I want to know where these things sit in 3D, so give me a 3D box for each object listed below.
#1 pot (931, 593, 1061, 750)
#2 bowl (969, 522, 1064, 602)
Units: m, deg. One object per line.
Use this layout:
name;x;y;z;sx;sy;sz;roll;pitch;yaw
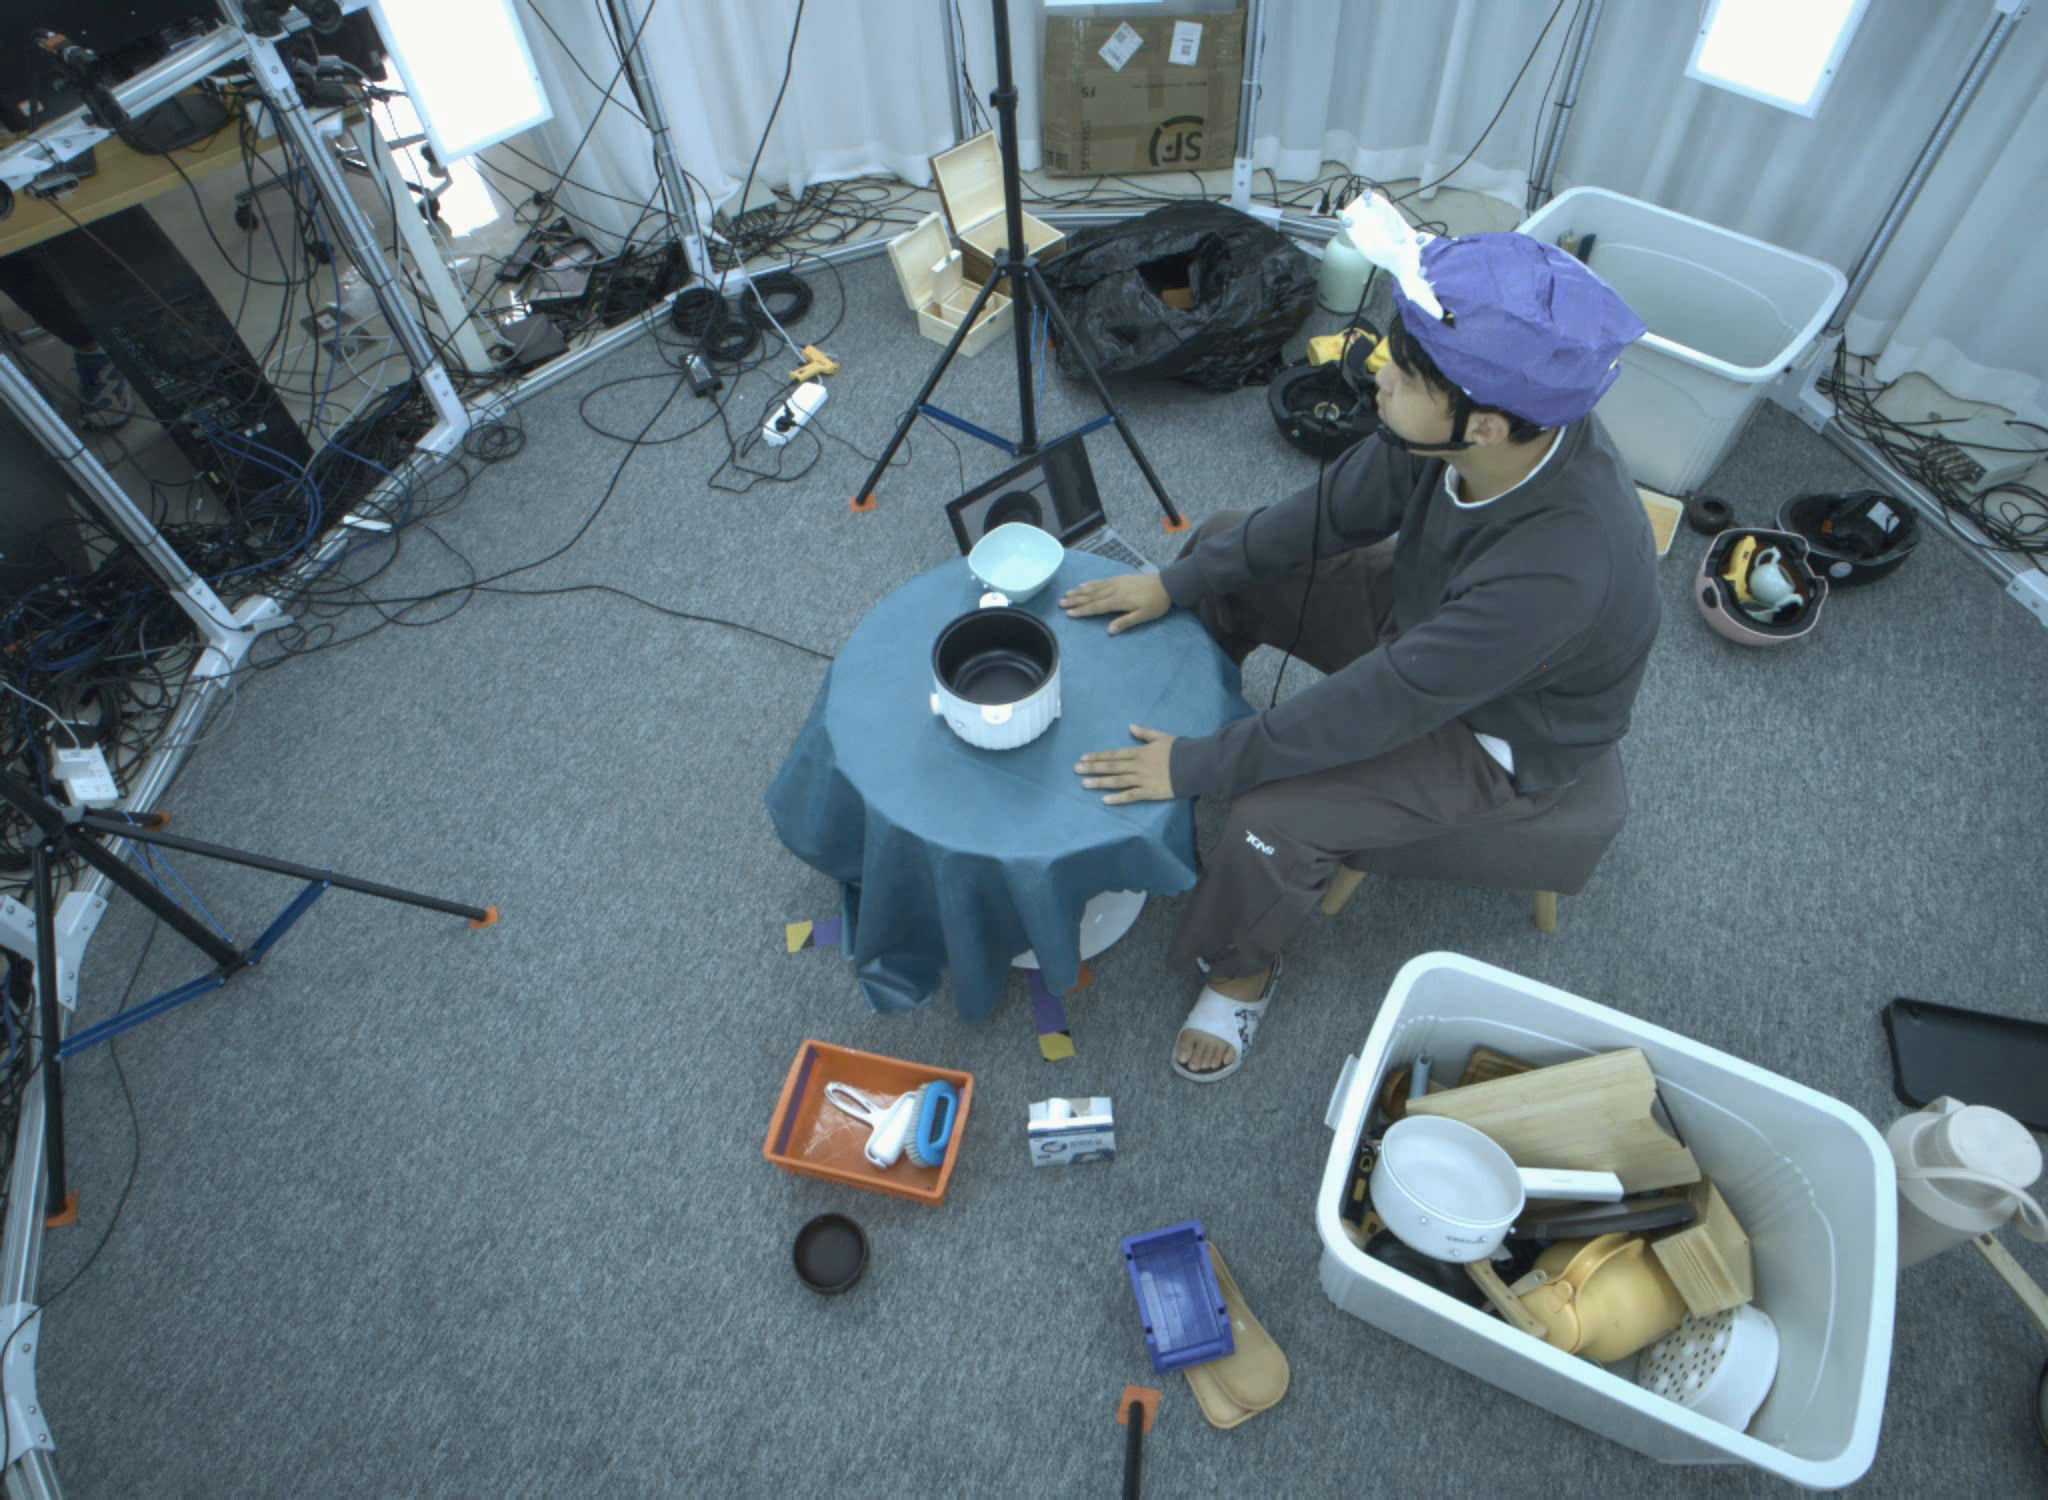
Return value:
pot;-0.041;-0.095;1.769;0.191;0.144;0.237;-3;53;-4
bowl;-0.011;-0.291;1.959;0.151;0.059;0.150;-1;56;2
